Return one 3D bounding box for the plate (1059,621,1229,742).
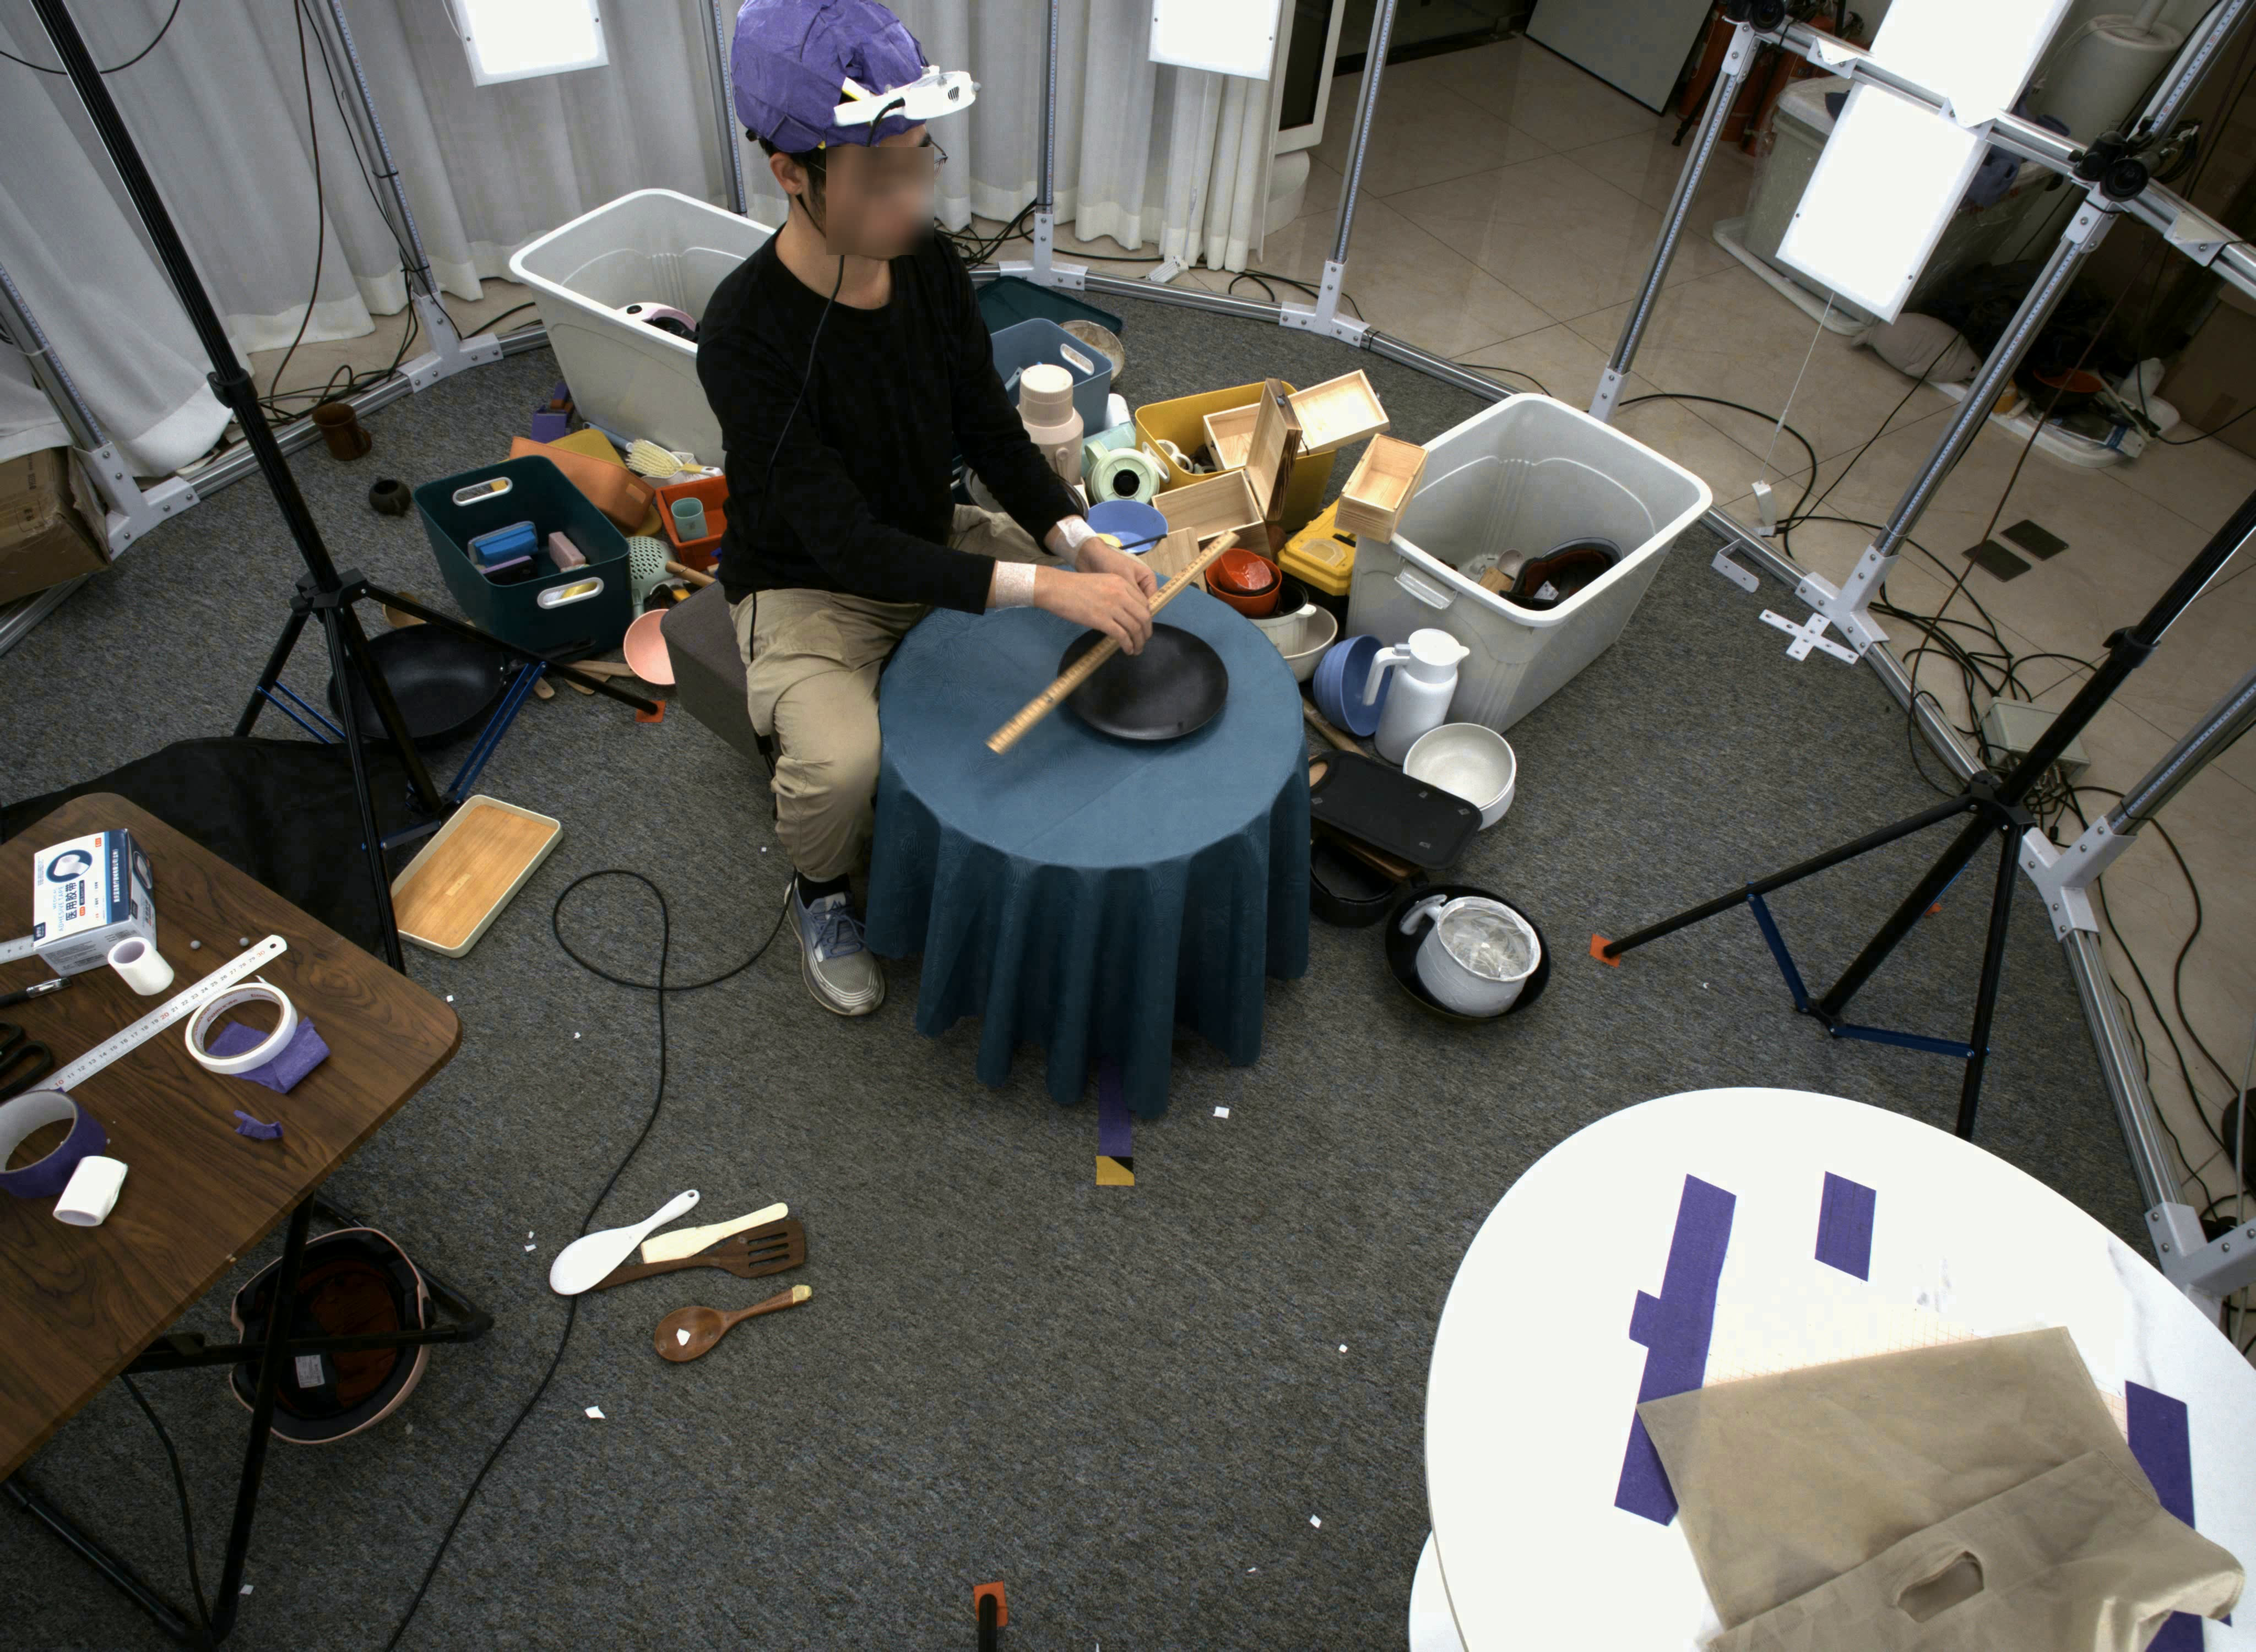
[{"bbox_3d":[0.022,-0.205,1.834,0.244,0.023,0.250,2,49,-2],"label":"plate"}]

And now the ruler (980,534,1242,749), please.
[{"bbox_3d":[-0.015,-0.264,1.773,0.027,0.006,0.505,35,64,28],"label":"ruler"}]
